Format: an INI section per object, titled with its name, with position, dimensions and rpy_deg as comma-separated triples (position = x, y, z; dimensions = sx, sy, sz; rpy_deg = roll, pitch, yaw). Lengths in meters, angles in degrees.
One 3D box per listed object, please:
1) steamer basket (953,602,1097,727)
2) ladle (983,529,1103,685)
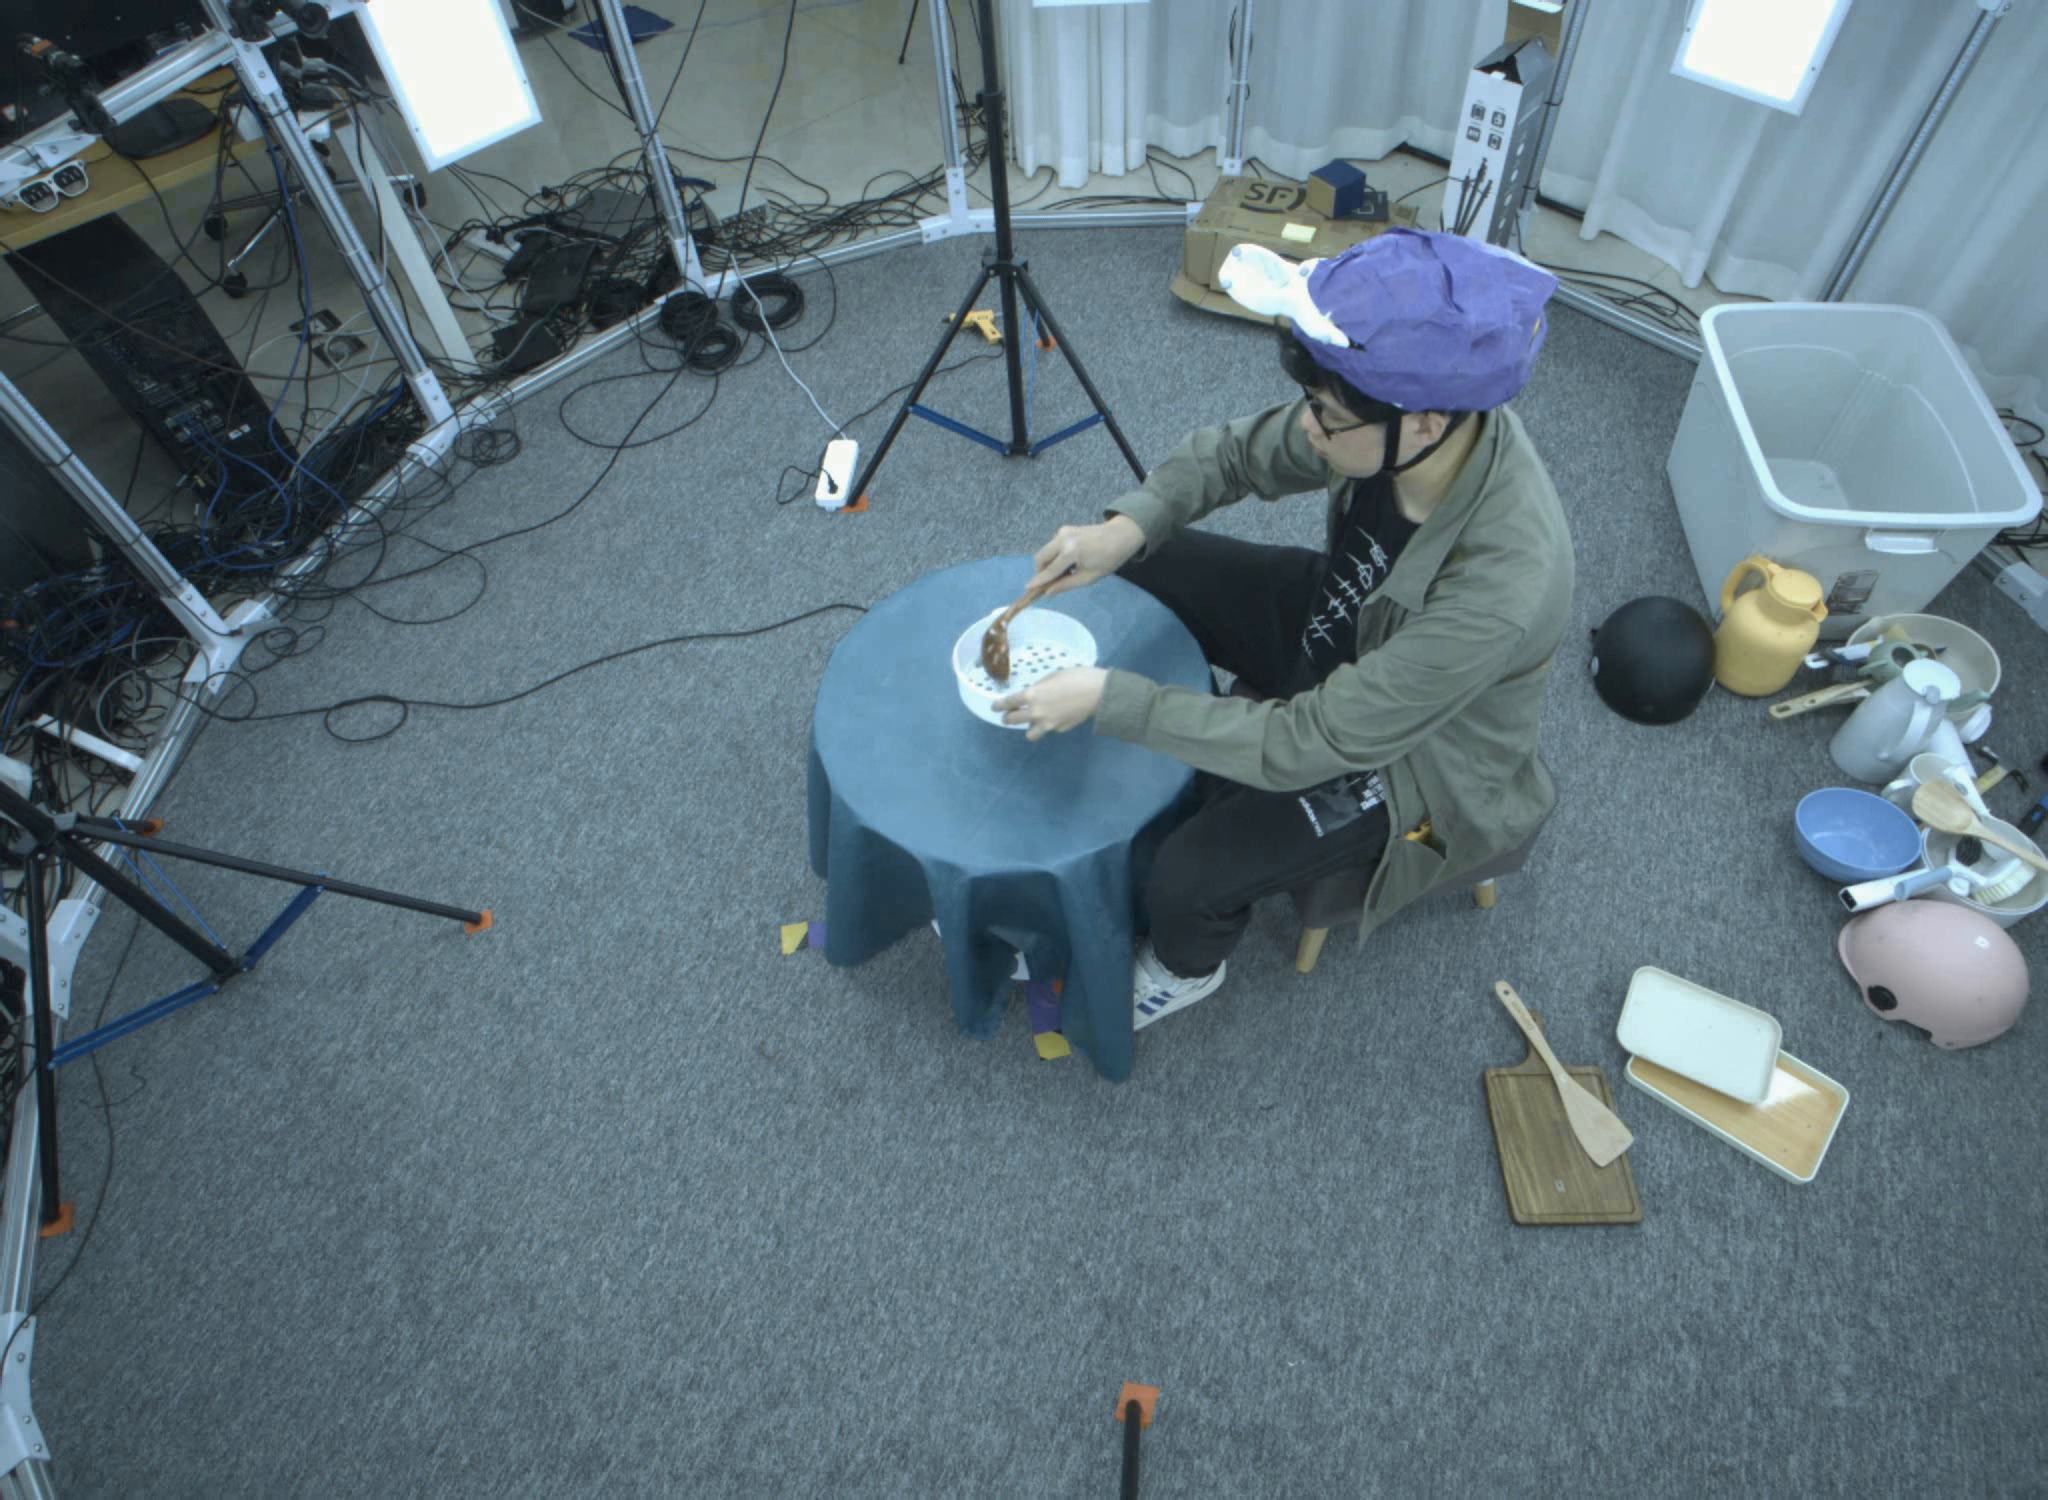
[steamer basket]
position = 0.003, -0.116, 1.736
dimensions = 0.203, 0.070, 0.227
rpy_deg = -8, 45, -5
[ladle]
position = 0.039, -0.202, 1.732
dimensions = 0.275, 0.081, 0.077
rpy_deg = -44, 95, -18
